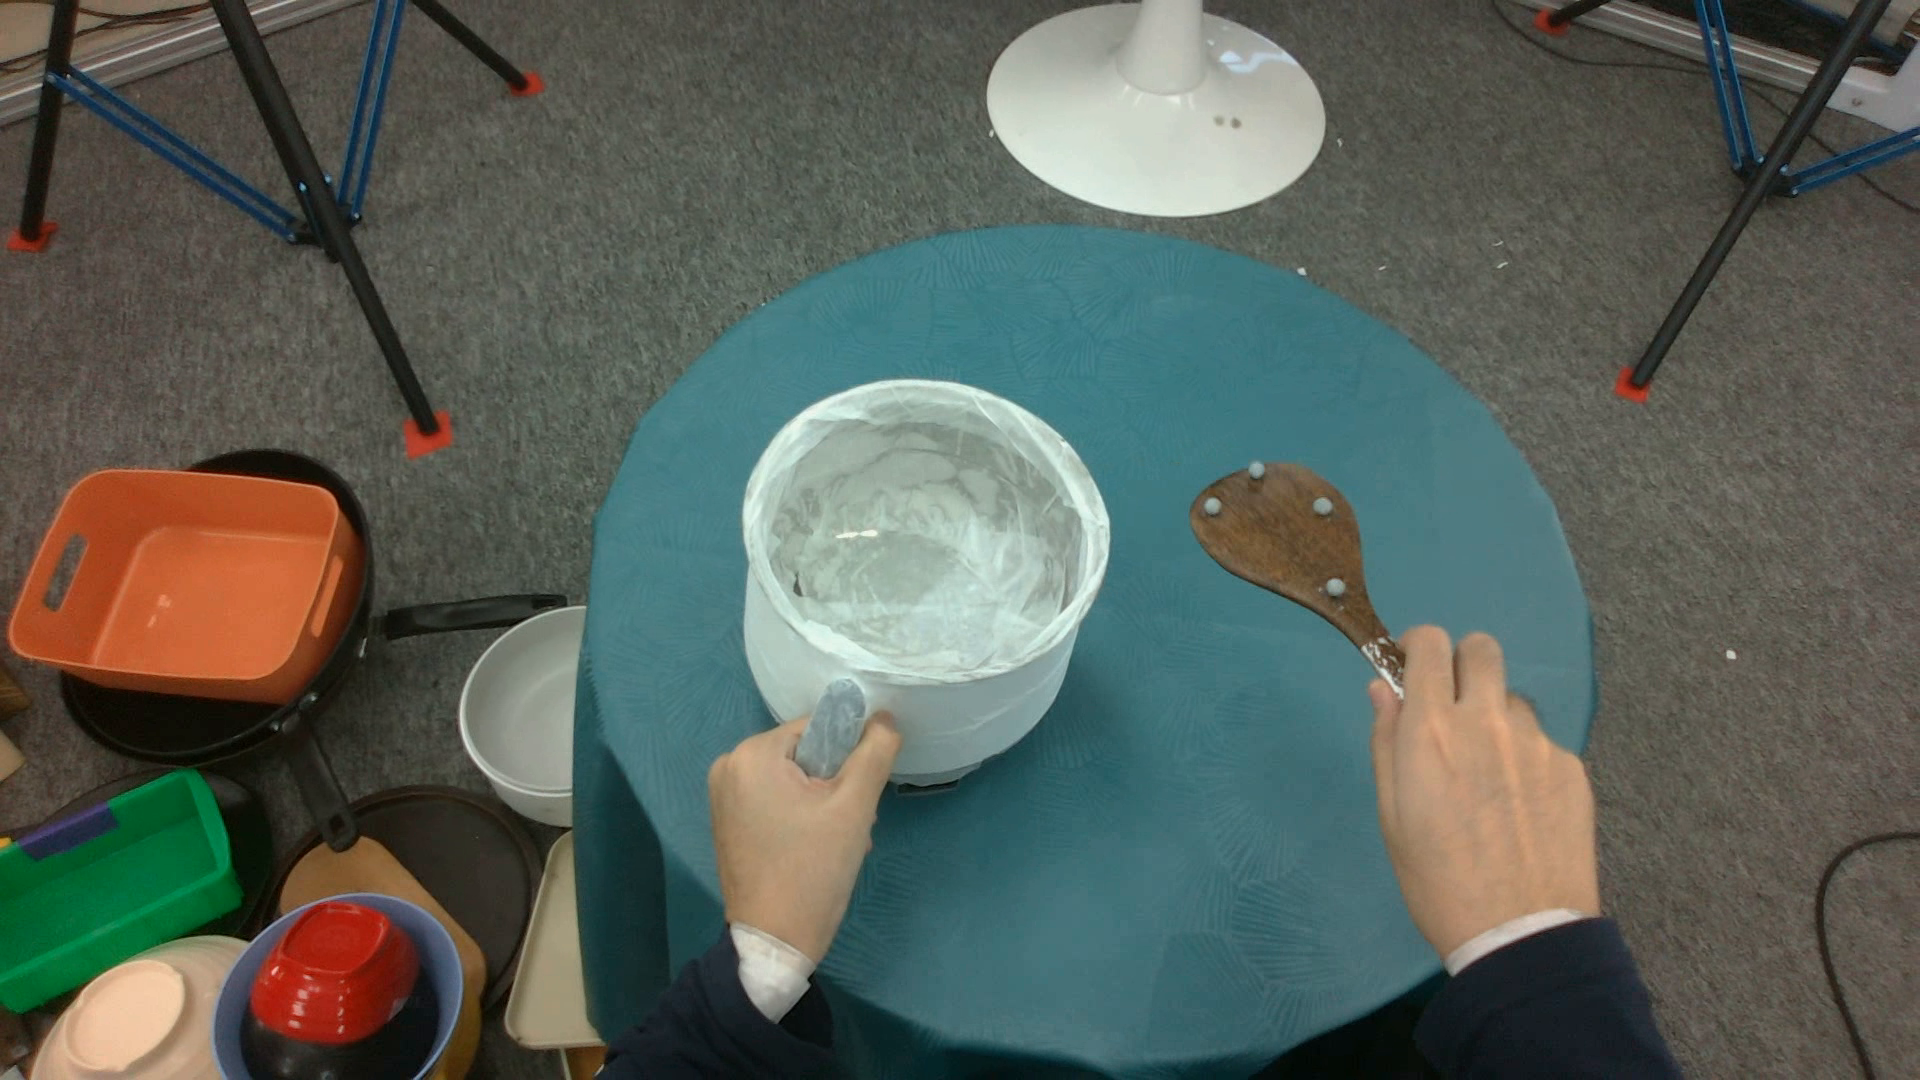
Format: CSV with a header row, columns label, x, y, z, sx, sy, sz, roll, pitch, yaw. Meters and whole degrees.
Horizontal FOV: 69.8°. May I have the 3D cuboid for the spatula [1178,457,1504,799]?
label,x,y,z,sx,sy,sz,roll,pitch,yaw
spatula,0.171,0.035,0.627,0.072,0.009,0.216,-23,50,-10

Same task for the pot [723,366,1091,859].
label,x,y,z,sx,sy,sz,roll,pitch,yaw
pot,-0.040,0.040,0.694,0.178,0.136,0.235,18,54,6
